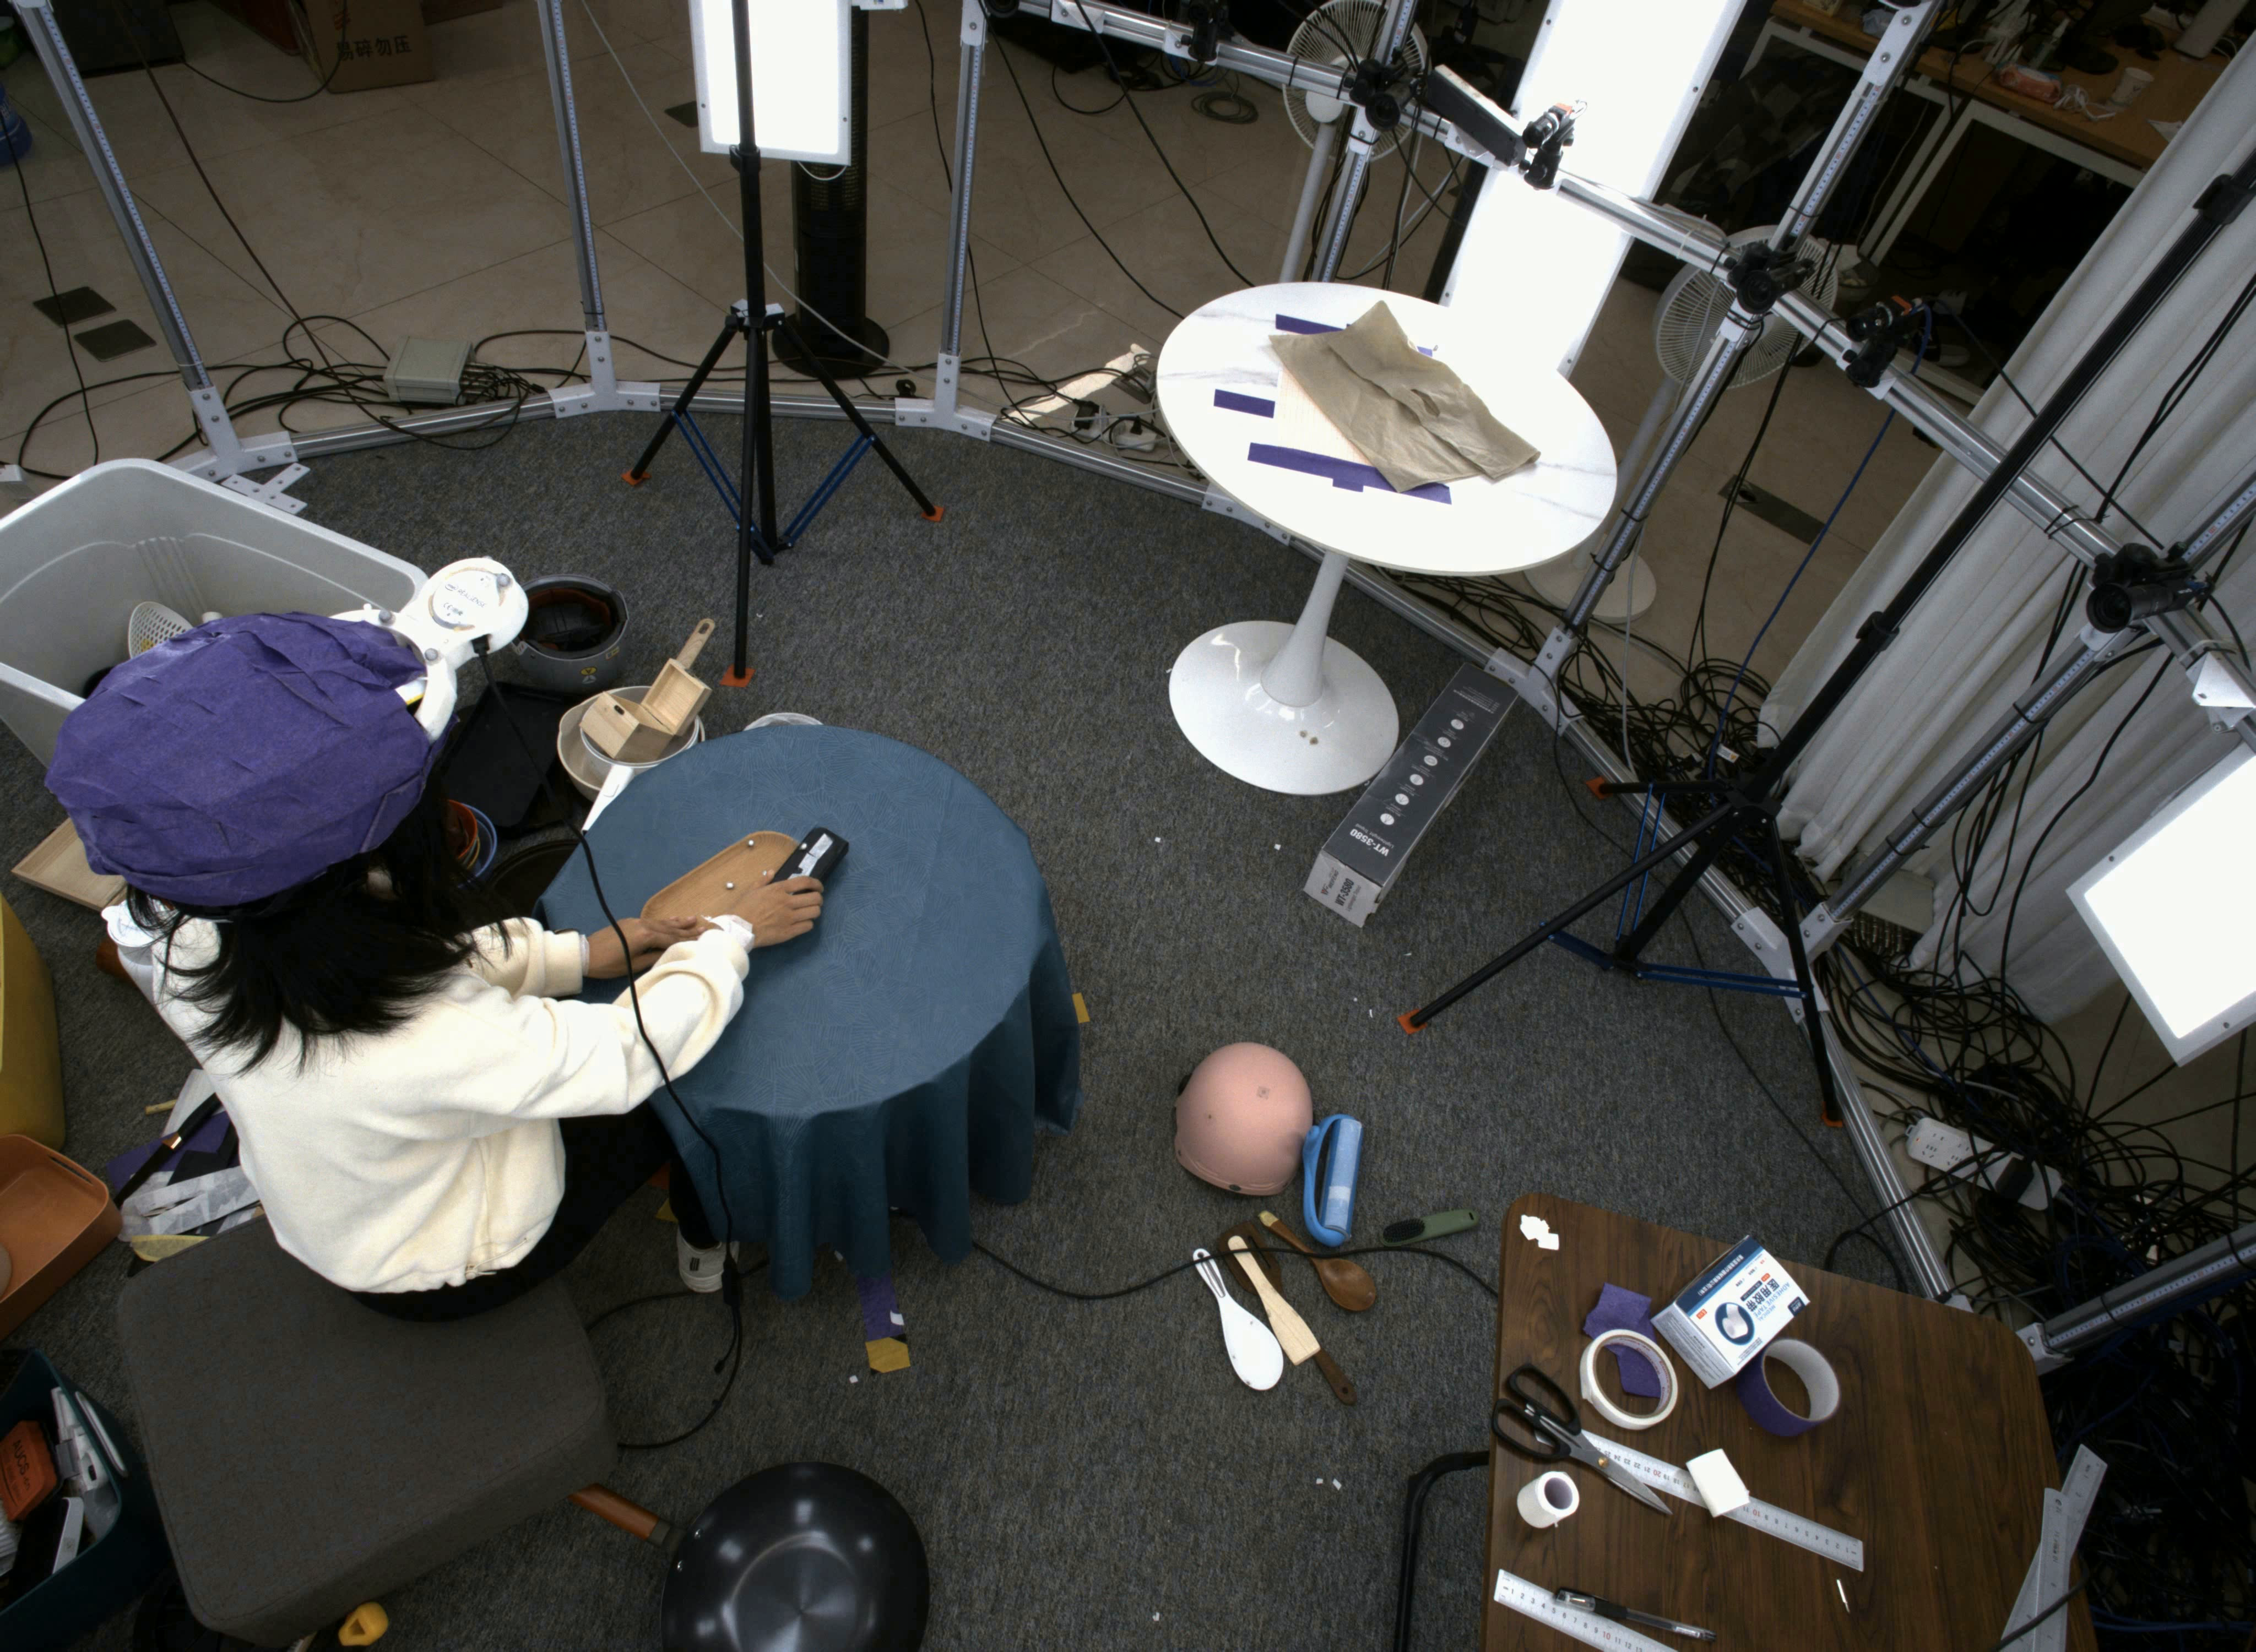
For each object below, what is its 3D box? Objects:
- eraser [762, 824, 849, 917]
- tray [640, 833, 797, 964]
[{"bbox_3d":[-0.409,0.053,1.647,0.053,0.031,0.124,27,50,3],"label":"eraser"},{"bbox_3d":[-0.508,0.087,1.621,0.099,0.021,0.231,38,55,15],"label":"tray"}]
